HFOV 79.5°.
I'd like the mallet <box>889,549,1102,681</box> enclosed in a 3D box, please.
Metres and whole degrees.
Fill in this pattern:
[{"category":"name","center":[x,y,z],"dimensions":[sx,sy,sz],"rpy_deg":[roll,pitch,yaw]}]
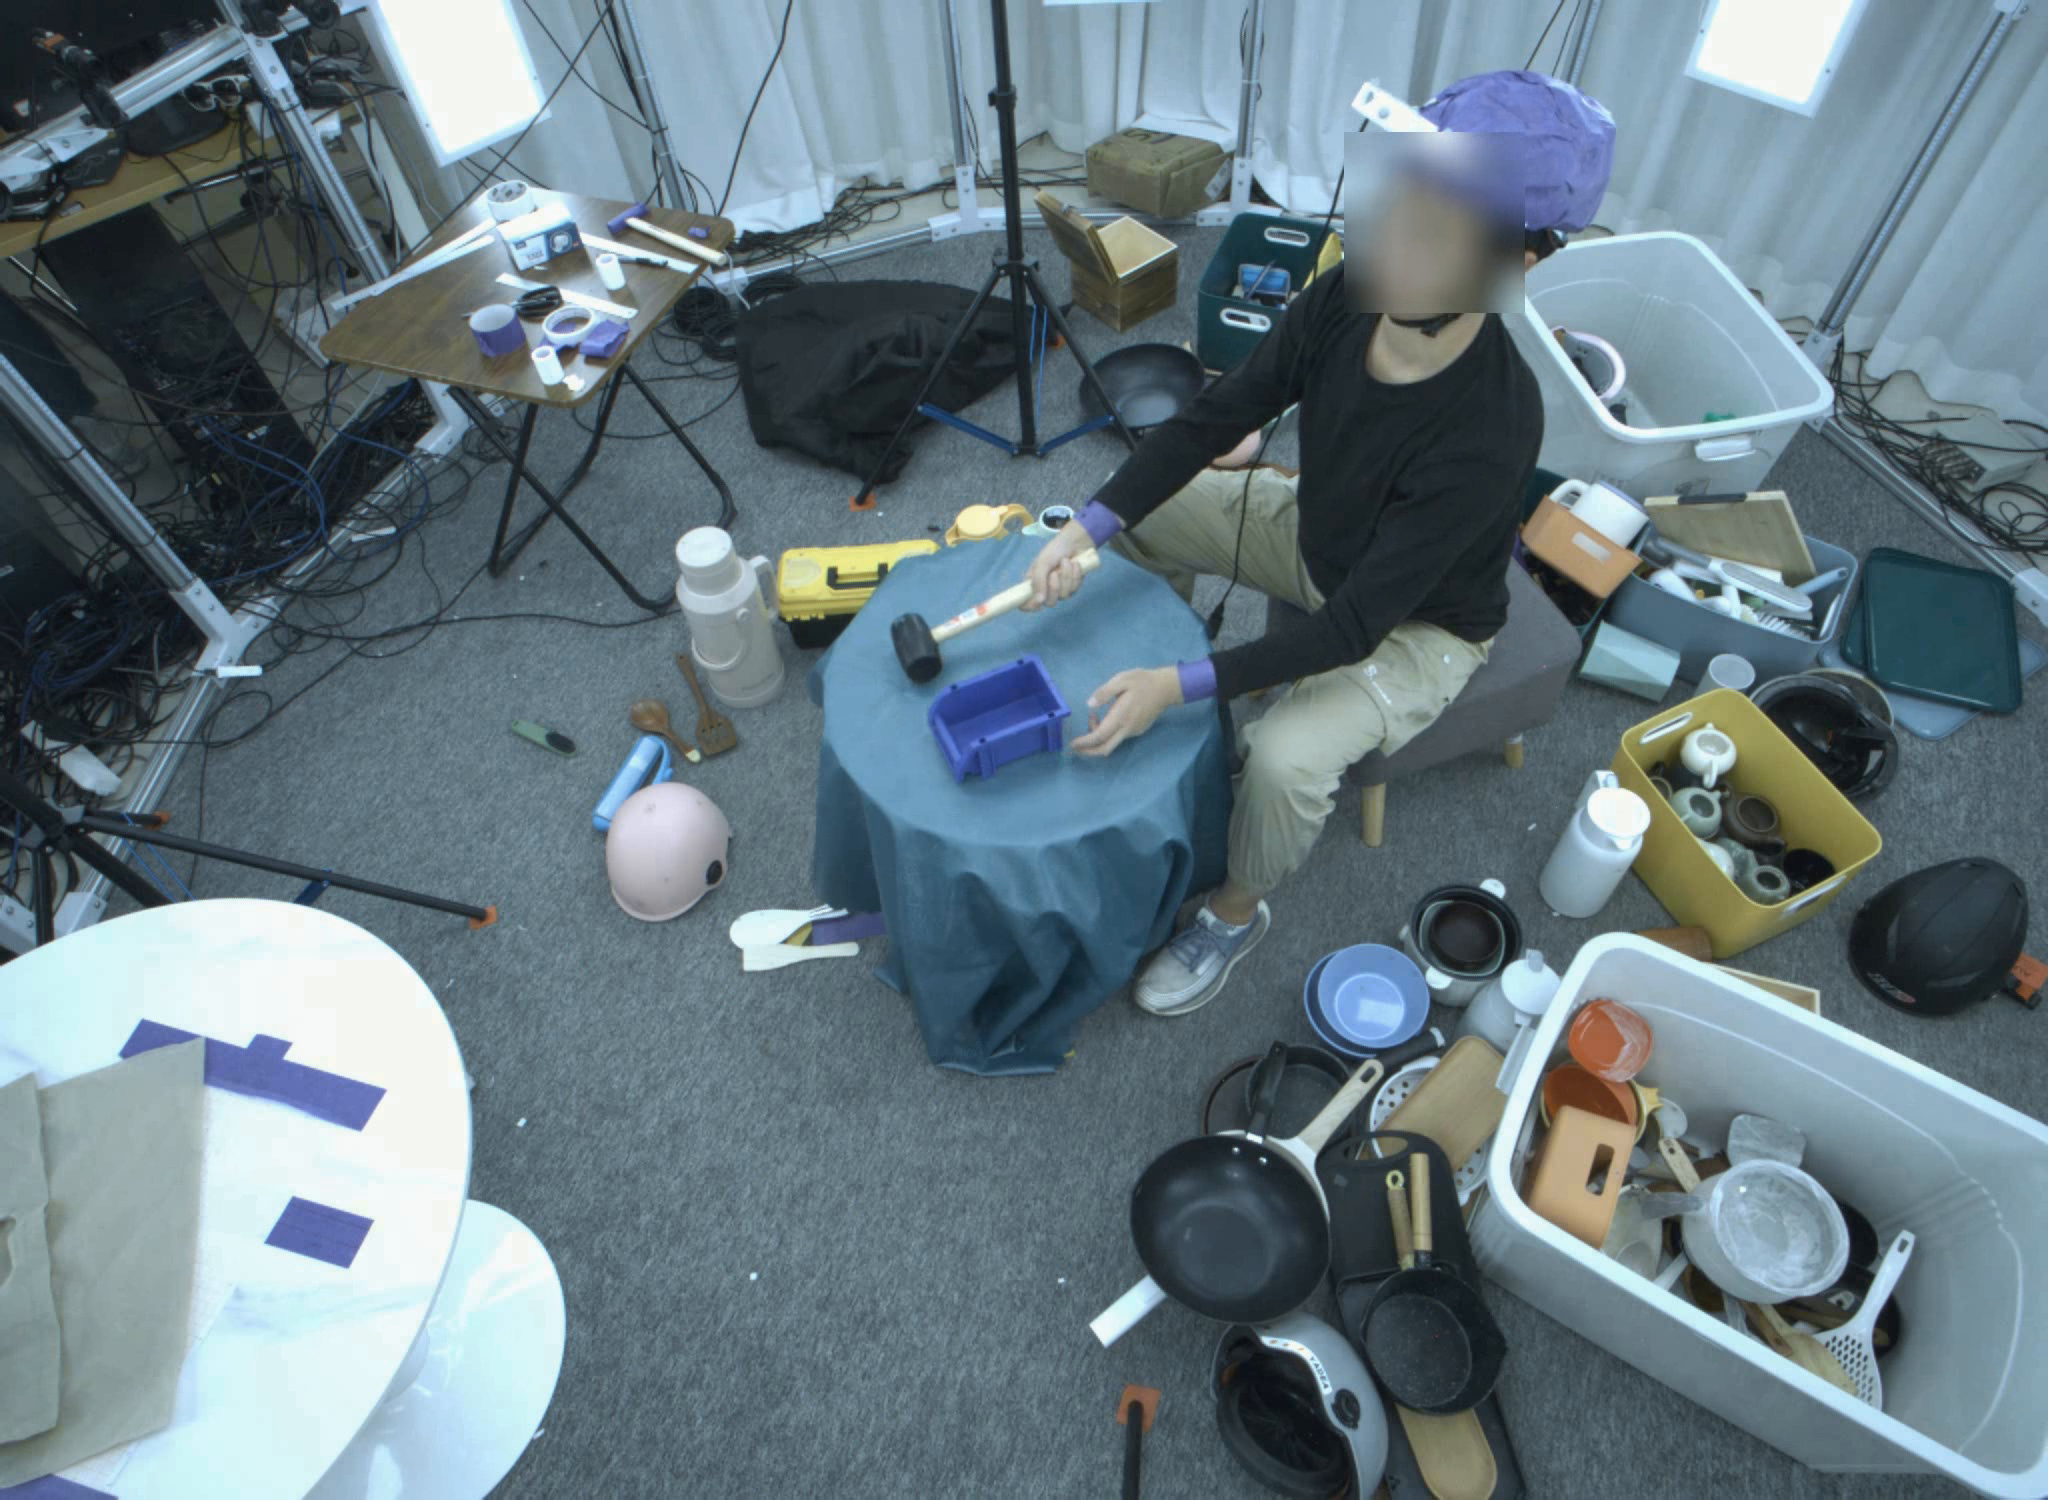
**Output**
[{"category":"mallet","center":[-0.044,-0.221,1.842],"dimensions":[0.338,0.065,0.100],"rpy_deg":[-27,58,4]}]

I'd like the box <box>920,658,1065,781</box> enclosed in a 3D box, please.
[{"category":"box","center":[-0.047,-0.038,1.762],"dimensions":[0.181,0.082,0.122],"rpy_deg":[-18,56,-15]}]
